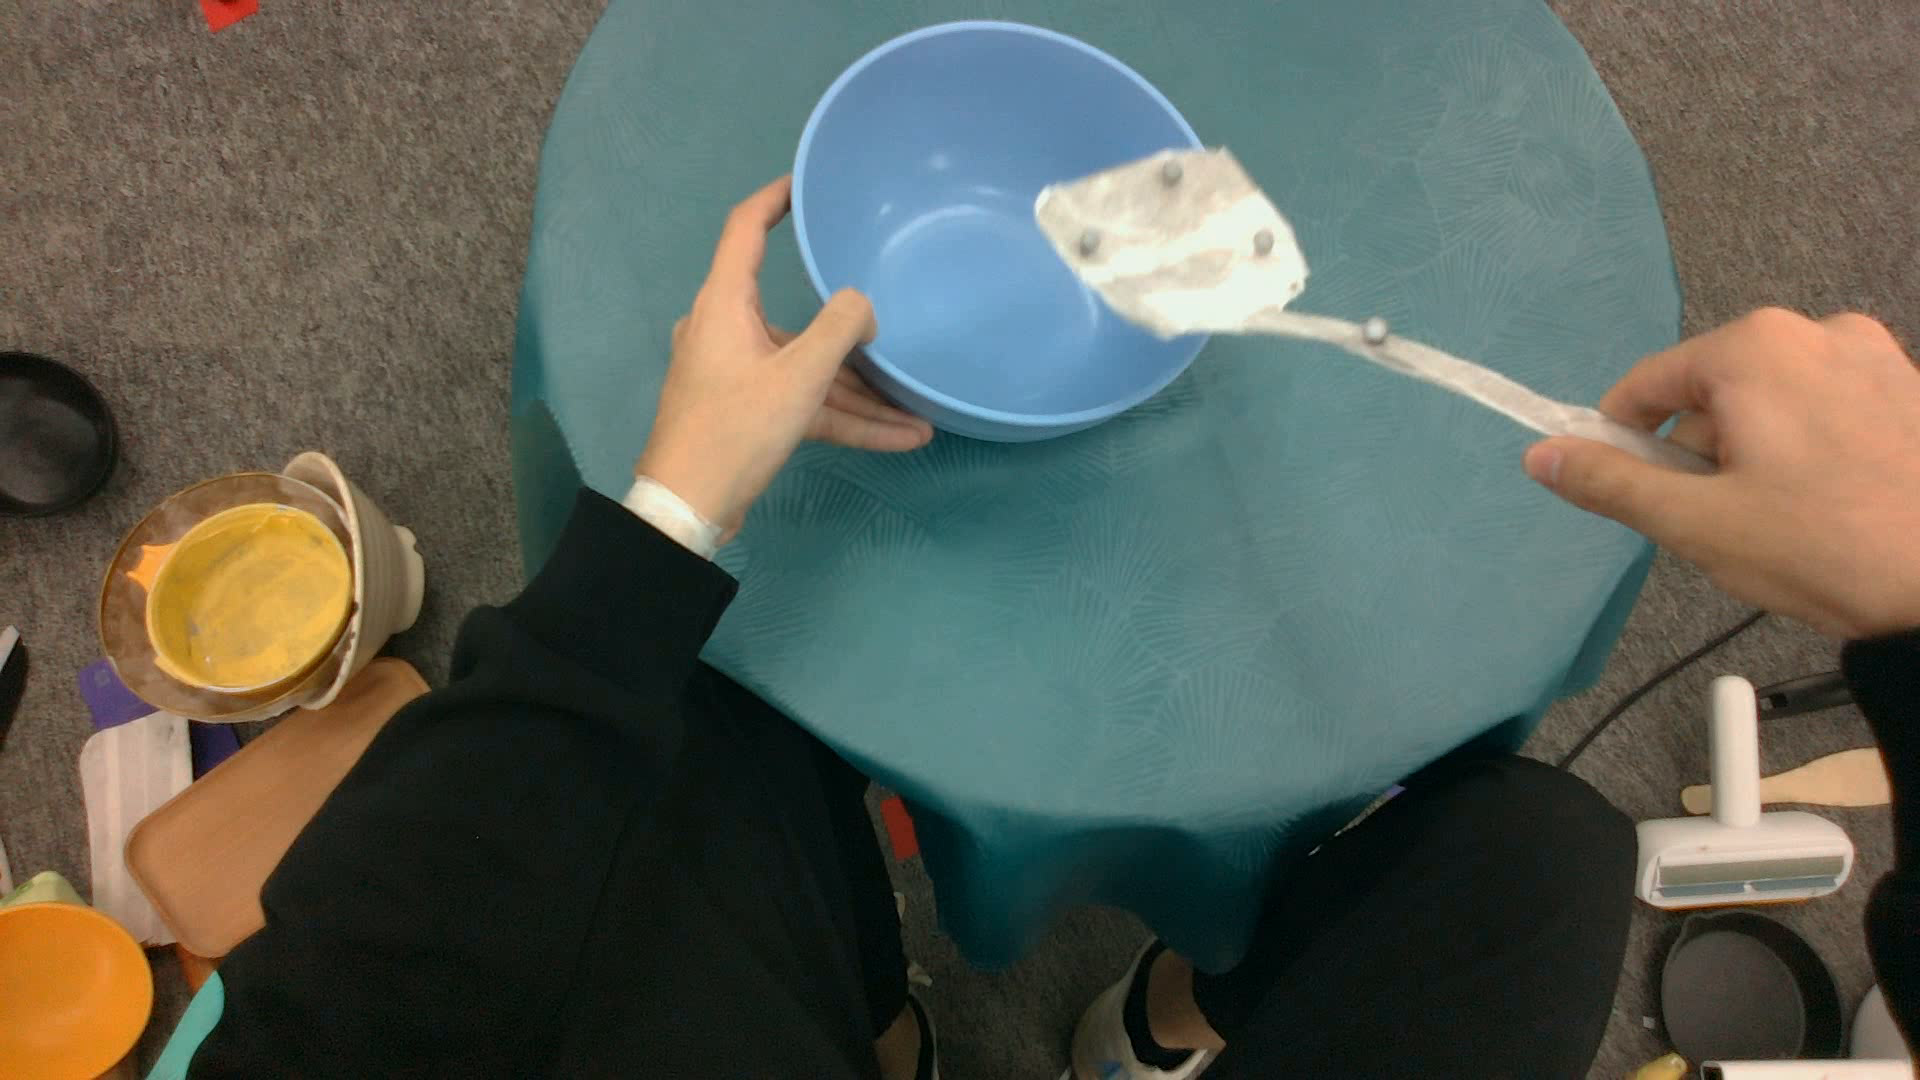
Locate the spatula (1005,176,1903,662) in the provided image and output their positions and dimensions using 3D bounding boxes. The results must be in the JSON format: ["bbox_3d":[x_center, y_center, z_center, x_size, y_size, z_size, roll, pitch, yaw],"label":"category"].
[{"bbox_3d":[0.140,-0.062,0.458,0.099,0.044,0.365,-20,31,-22],"label":"spatula"}]

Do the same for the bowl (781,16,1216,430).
[{"bbox_3d":[0.010,-0.132,0.640,0.197,0.095,0.197,5,70,-13],"label":"bowl"}]
